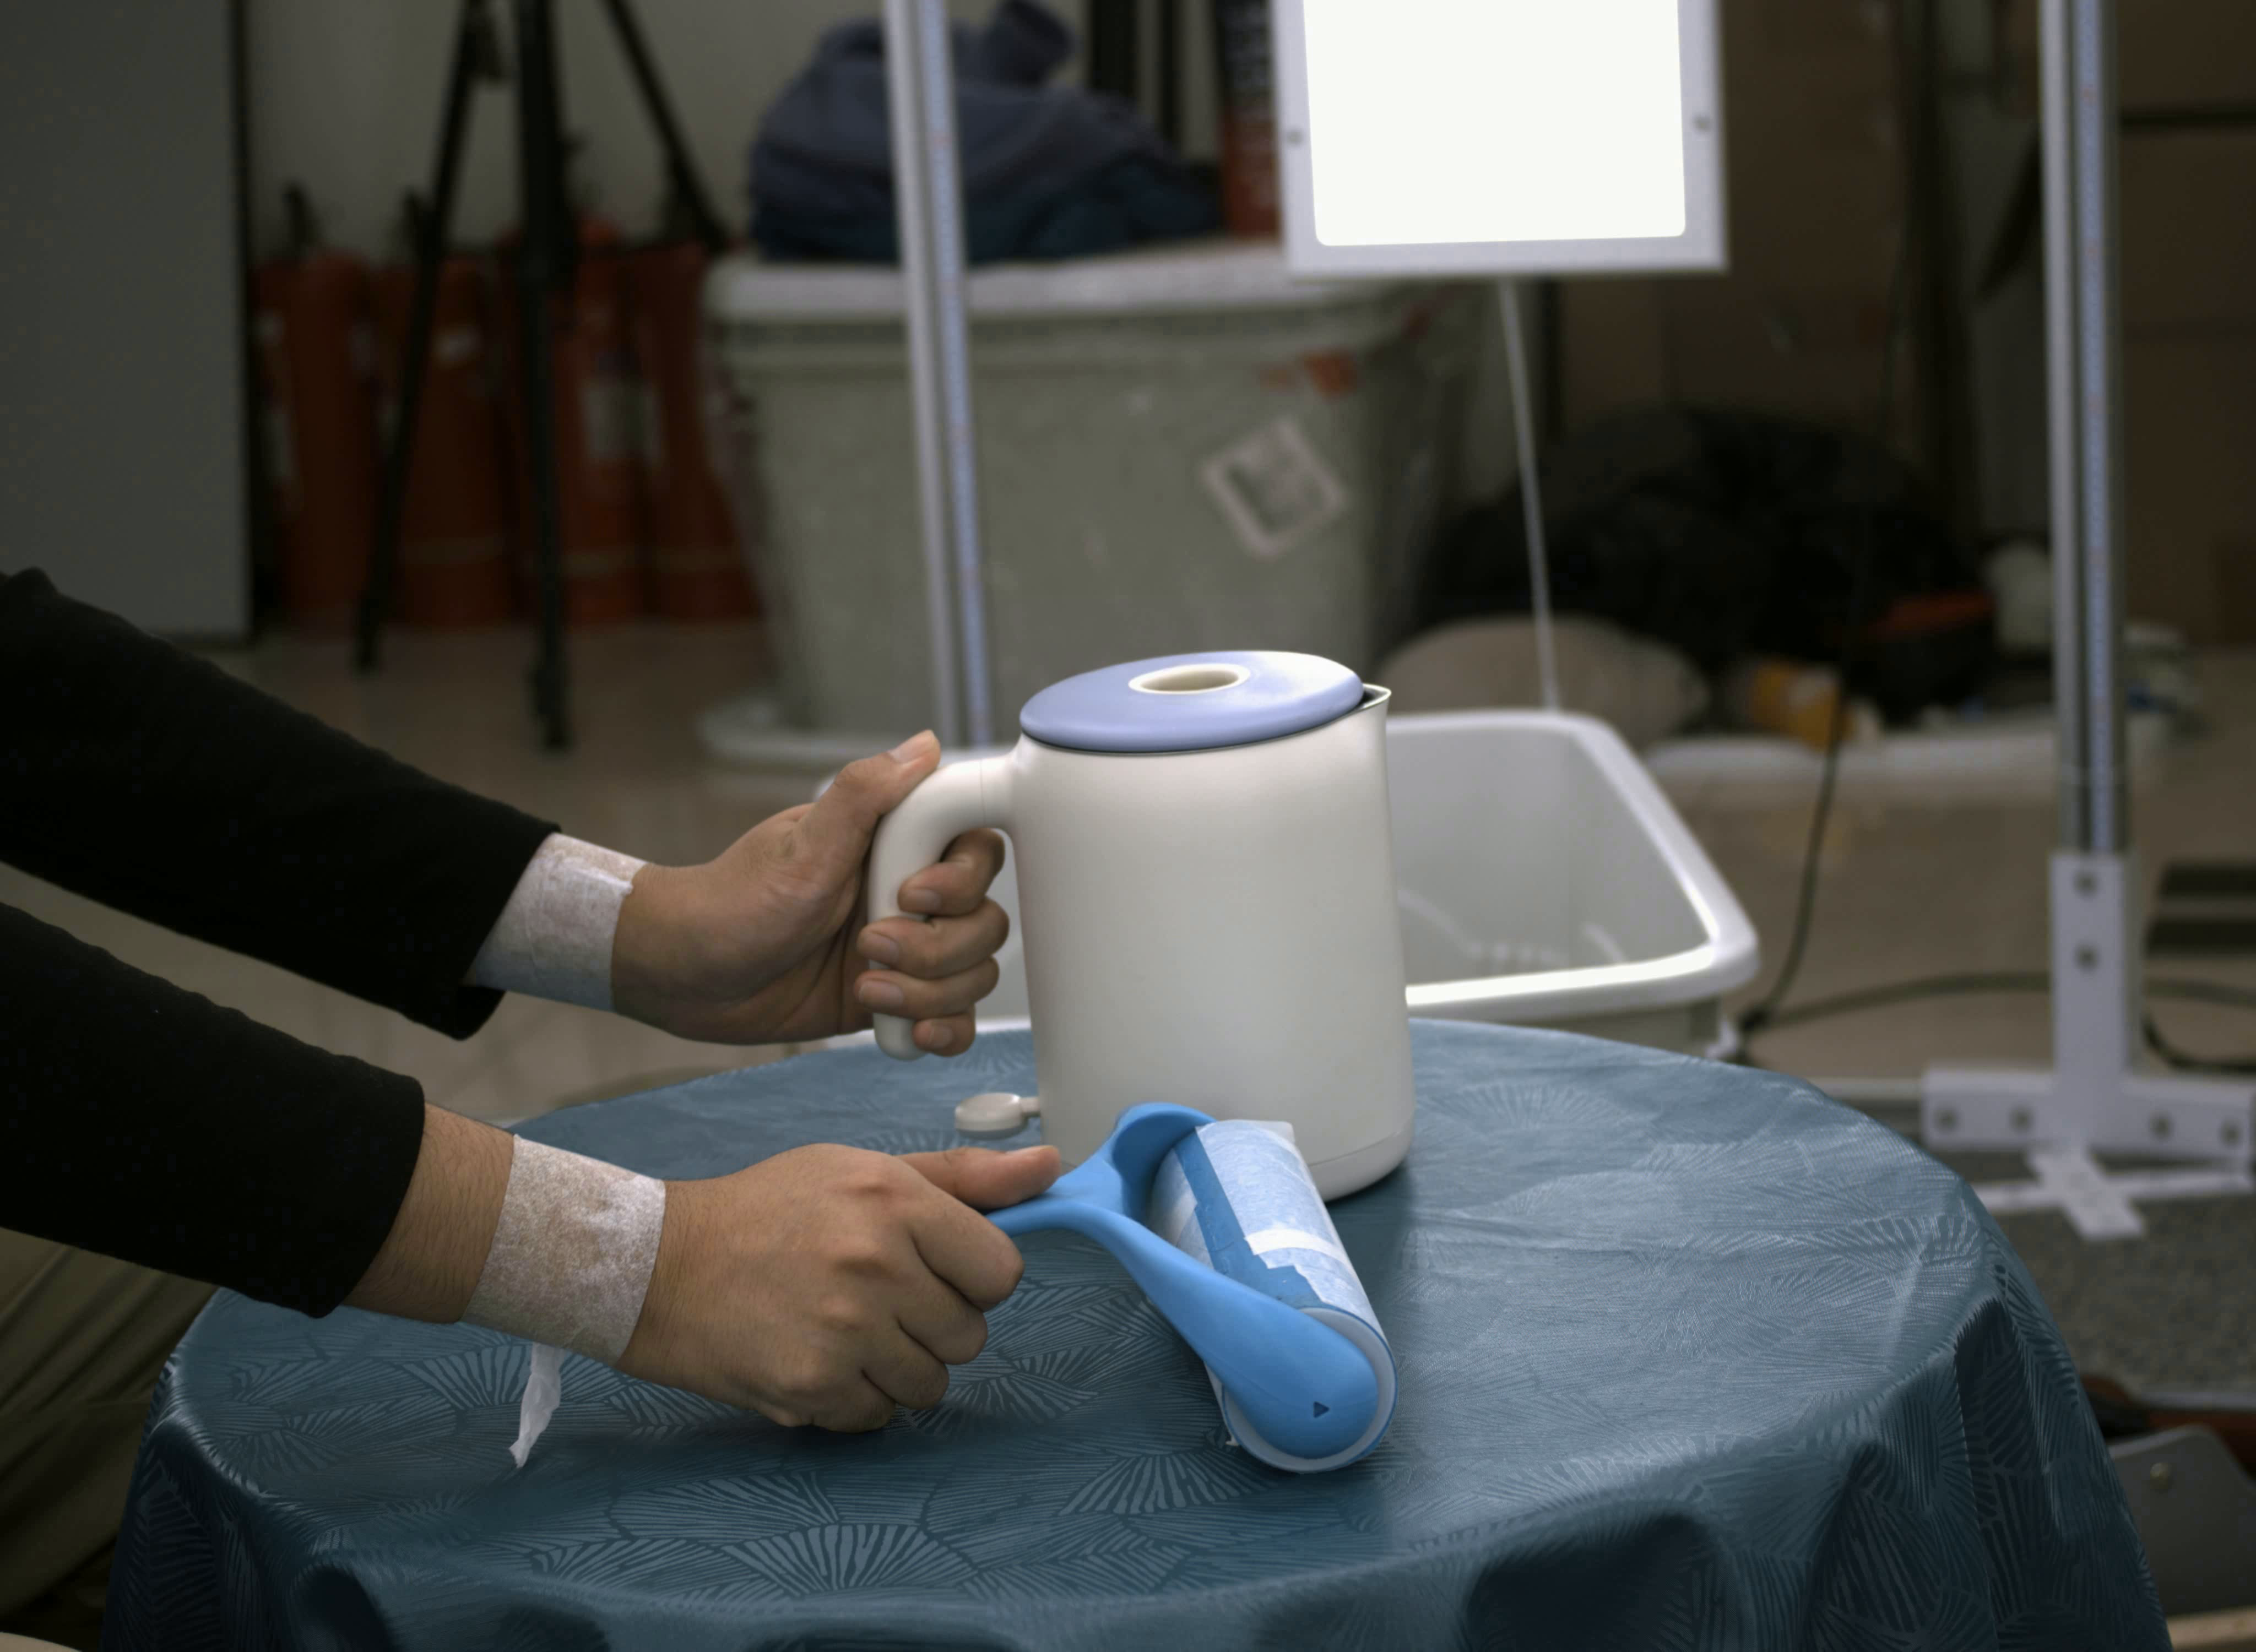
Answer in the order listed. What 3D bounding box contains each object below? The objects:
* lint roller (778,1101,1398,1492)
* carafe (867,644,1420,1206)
[{"bbox_3d":[-0.015,0.140,1.698,0.178,0.068,0.229,5,15,-8],"label":"lint roller"},{"bbox_3d":[0.005,0.039,1.891,0.191,0.183,0.132,-8,13,2],"label":"carafe"}]
